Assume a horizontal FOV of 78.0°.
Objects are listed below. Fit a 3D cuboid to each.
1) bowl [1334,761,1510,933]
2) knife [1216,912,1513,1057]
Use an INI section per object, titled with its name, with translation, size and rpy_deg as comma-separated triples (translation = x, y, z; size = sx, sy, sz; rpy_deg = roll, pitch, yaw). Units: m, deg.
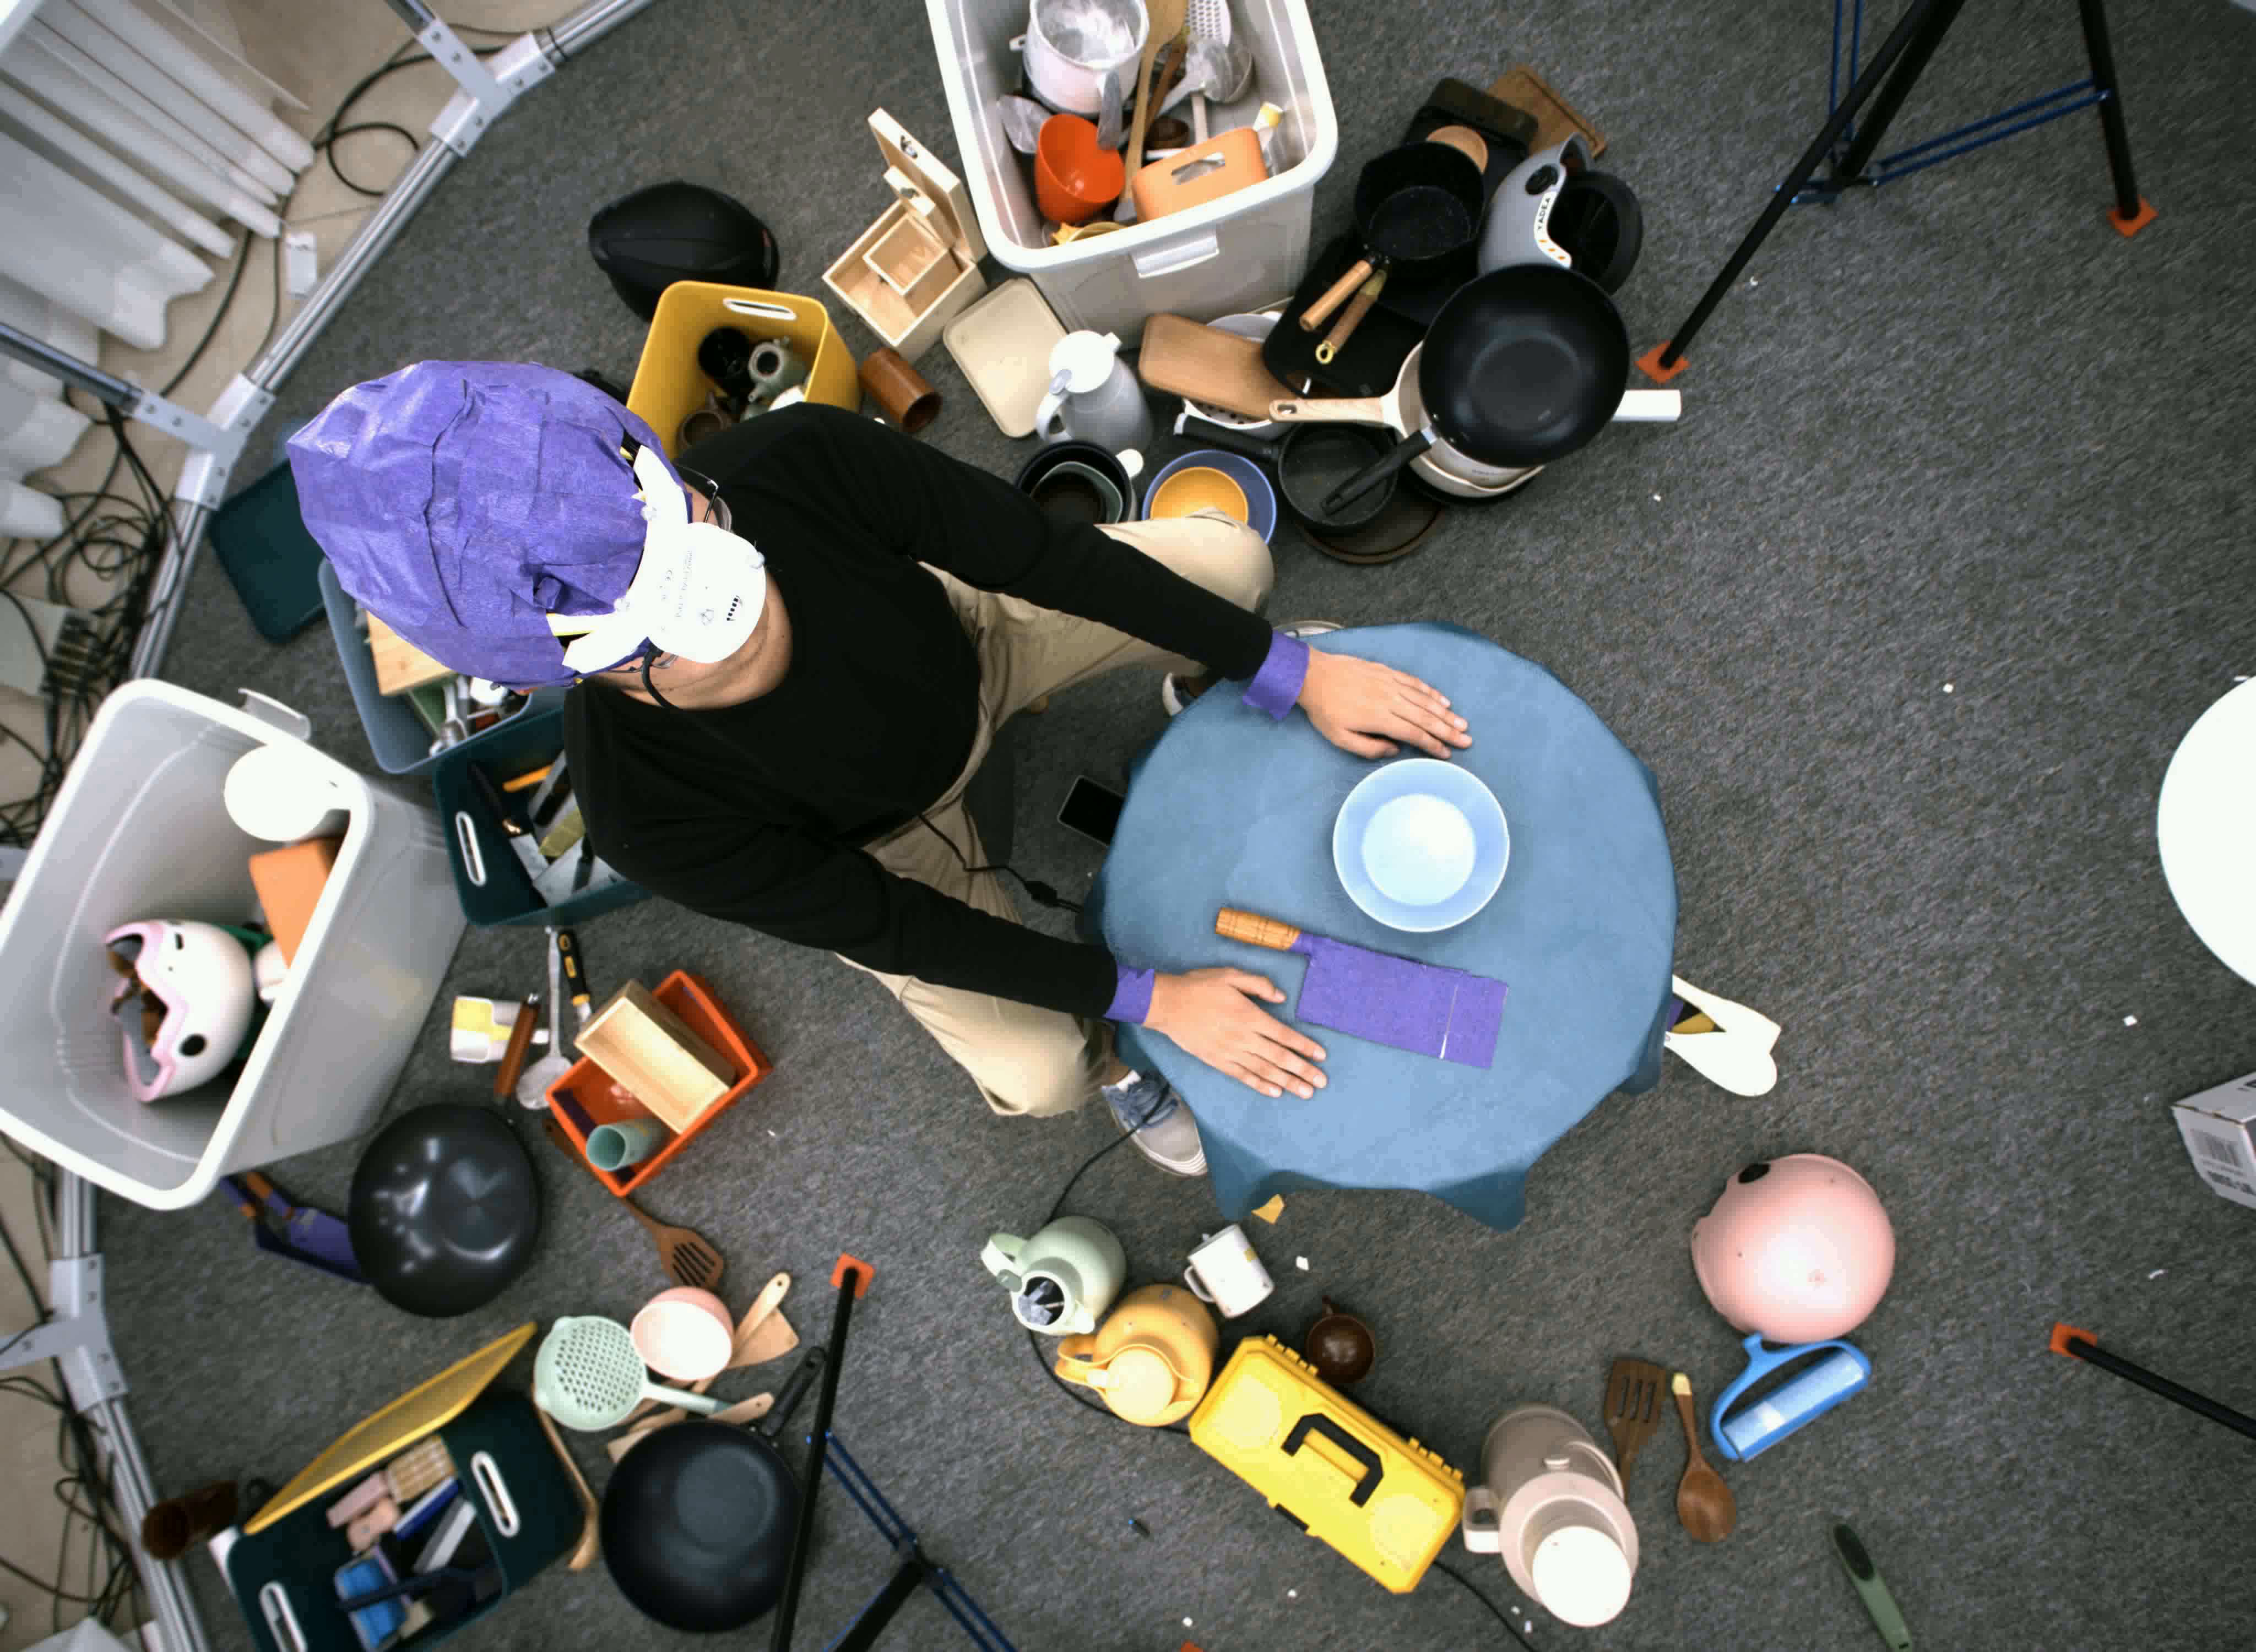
[bowl]
translation = 0.301, 0.023, 1.421
size = 0.177, 0.070, 0.175
rpy_deg = -1, 86, 11
[knife]
translation = 0.238, 0.167, 1.449
size = 0.316, 0.032, 0.103
rpy_deg = 13, 89, 11
